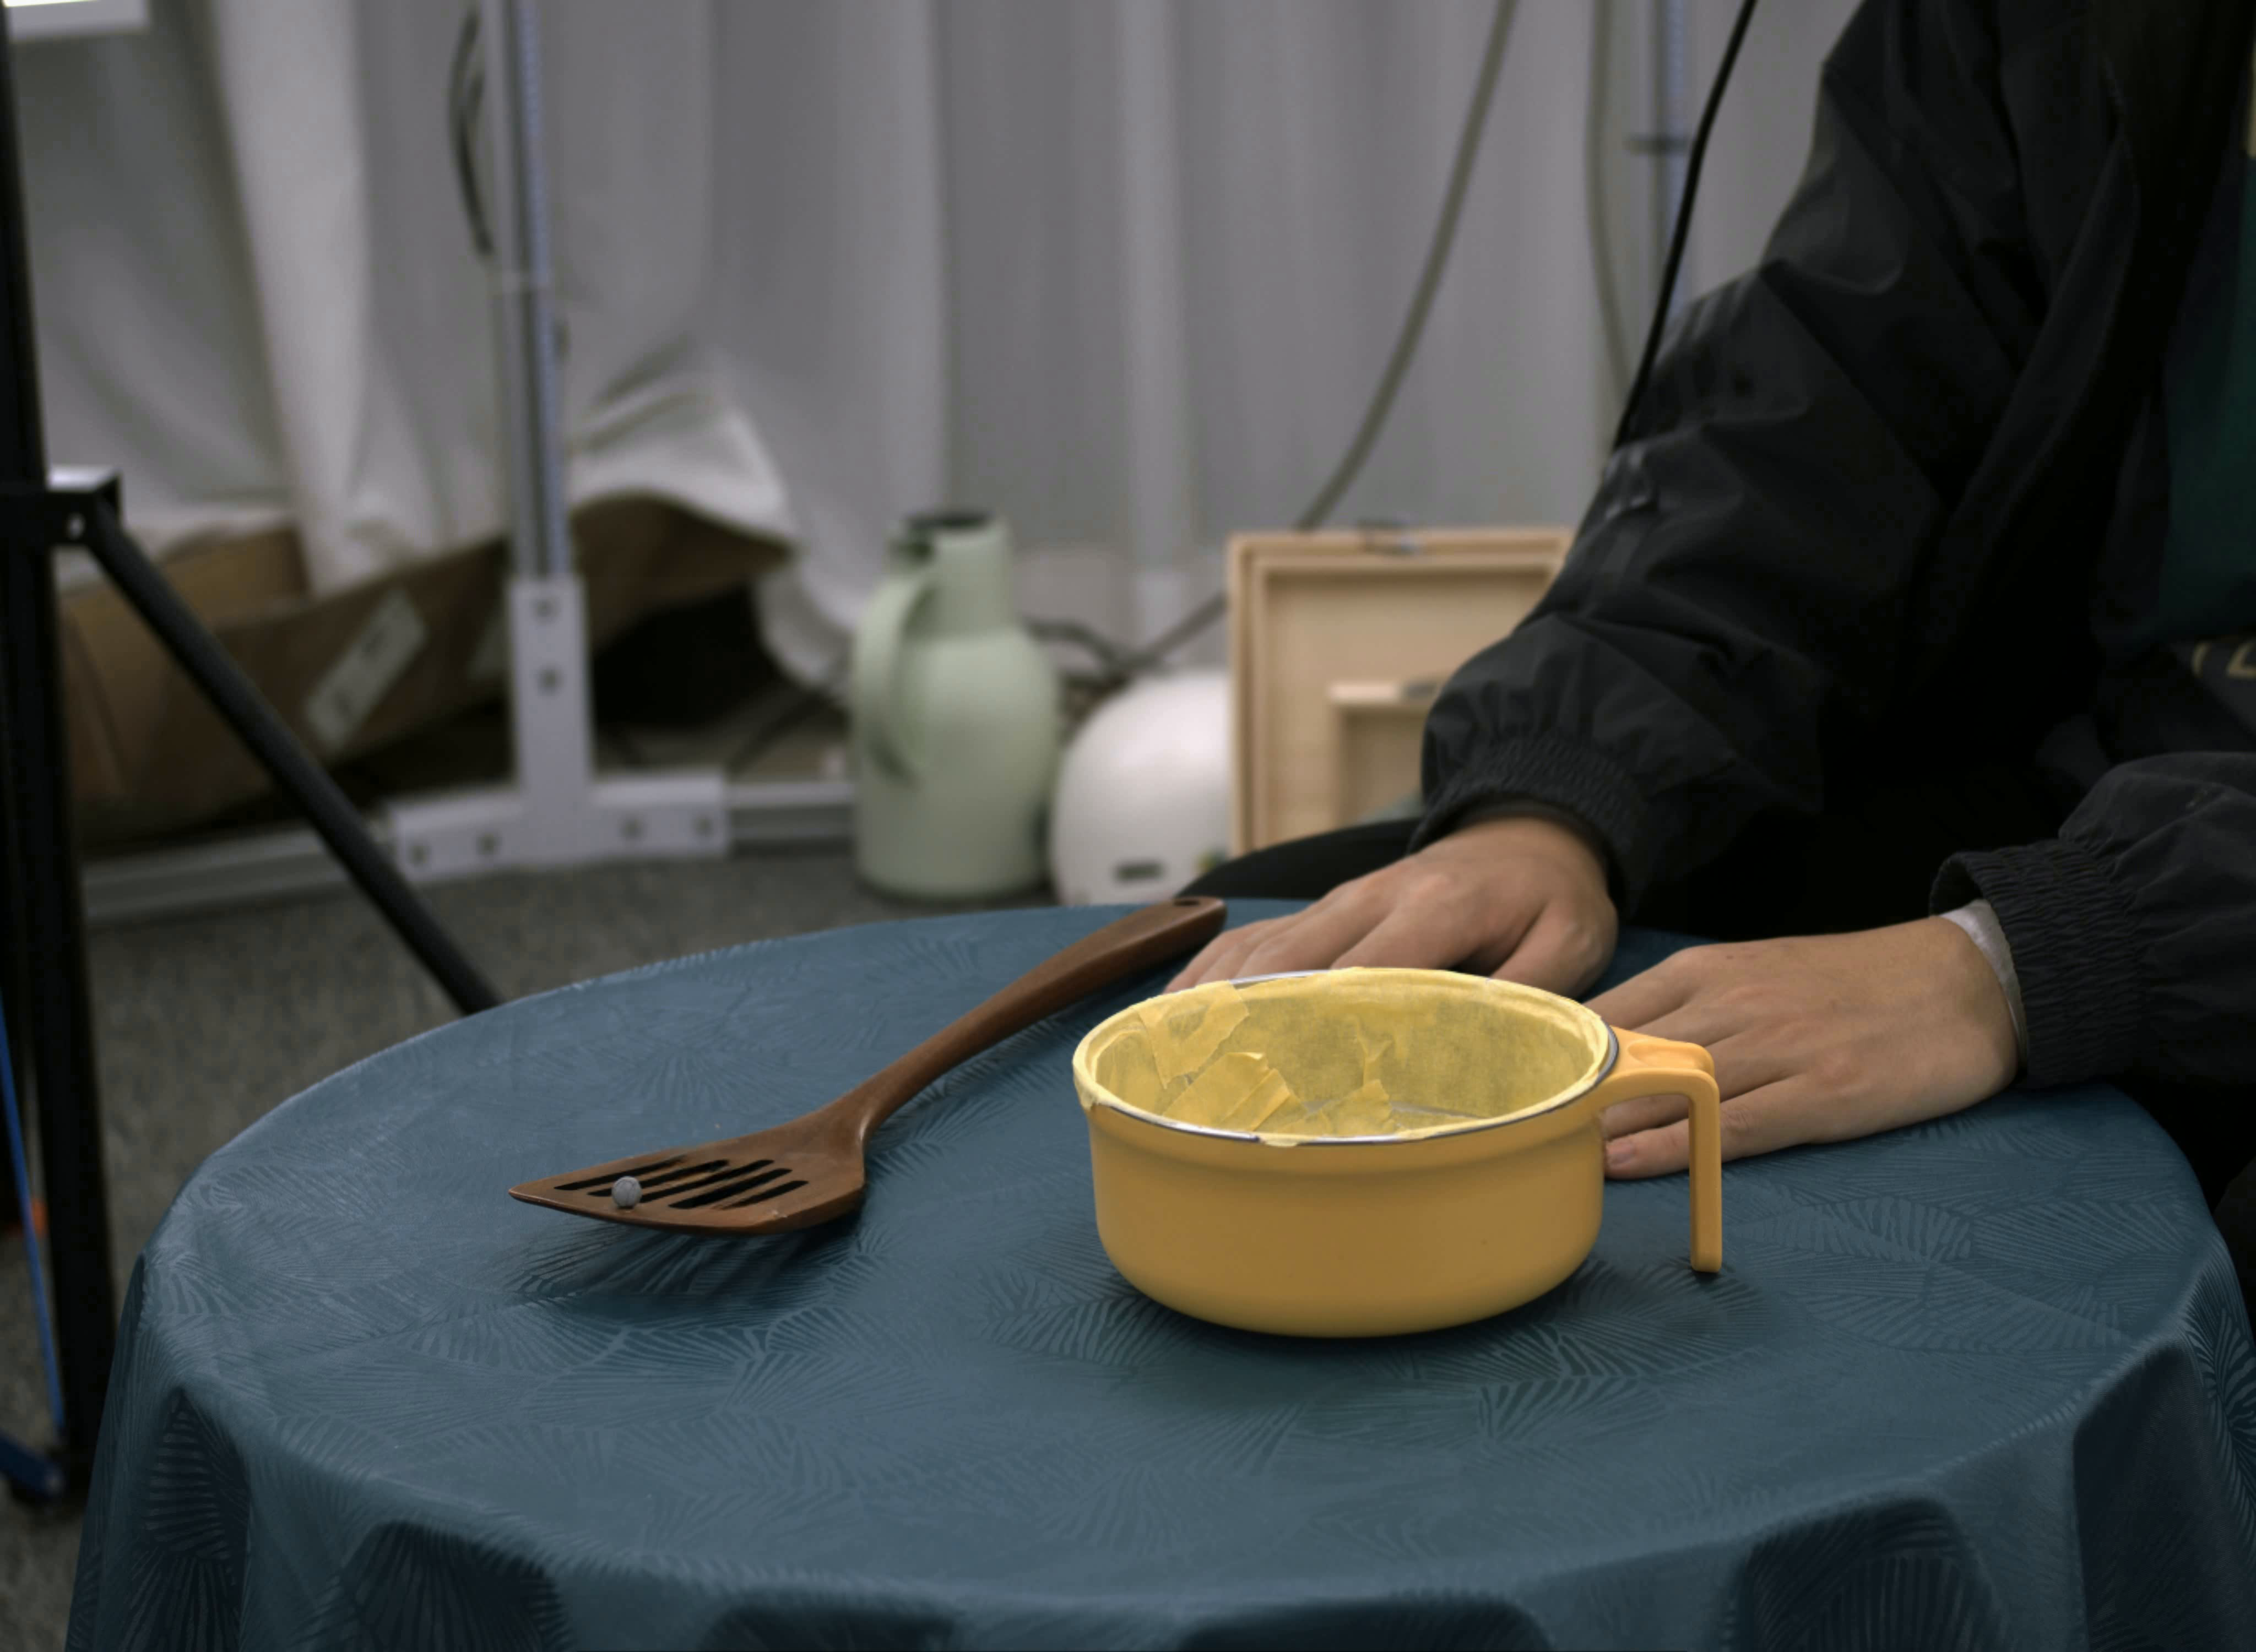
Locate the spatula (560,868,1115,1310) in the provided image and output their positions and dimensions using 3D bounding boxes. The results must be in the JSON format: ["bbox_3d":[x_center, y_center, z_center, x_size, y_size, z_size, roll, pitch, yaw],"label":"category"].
[{"bbox_3d":[-0.070,0.078,1.660,0.086,0.024,0.383,11,21,15],"label":"spatula"}]

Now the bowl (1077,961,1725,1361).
[{"bbox_3d":[0.076,0.096,1.476,0.178,0.074,0.154,-3,16,-1],"label":"bowl"}]
